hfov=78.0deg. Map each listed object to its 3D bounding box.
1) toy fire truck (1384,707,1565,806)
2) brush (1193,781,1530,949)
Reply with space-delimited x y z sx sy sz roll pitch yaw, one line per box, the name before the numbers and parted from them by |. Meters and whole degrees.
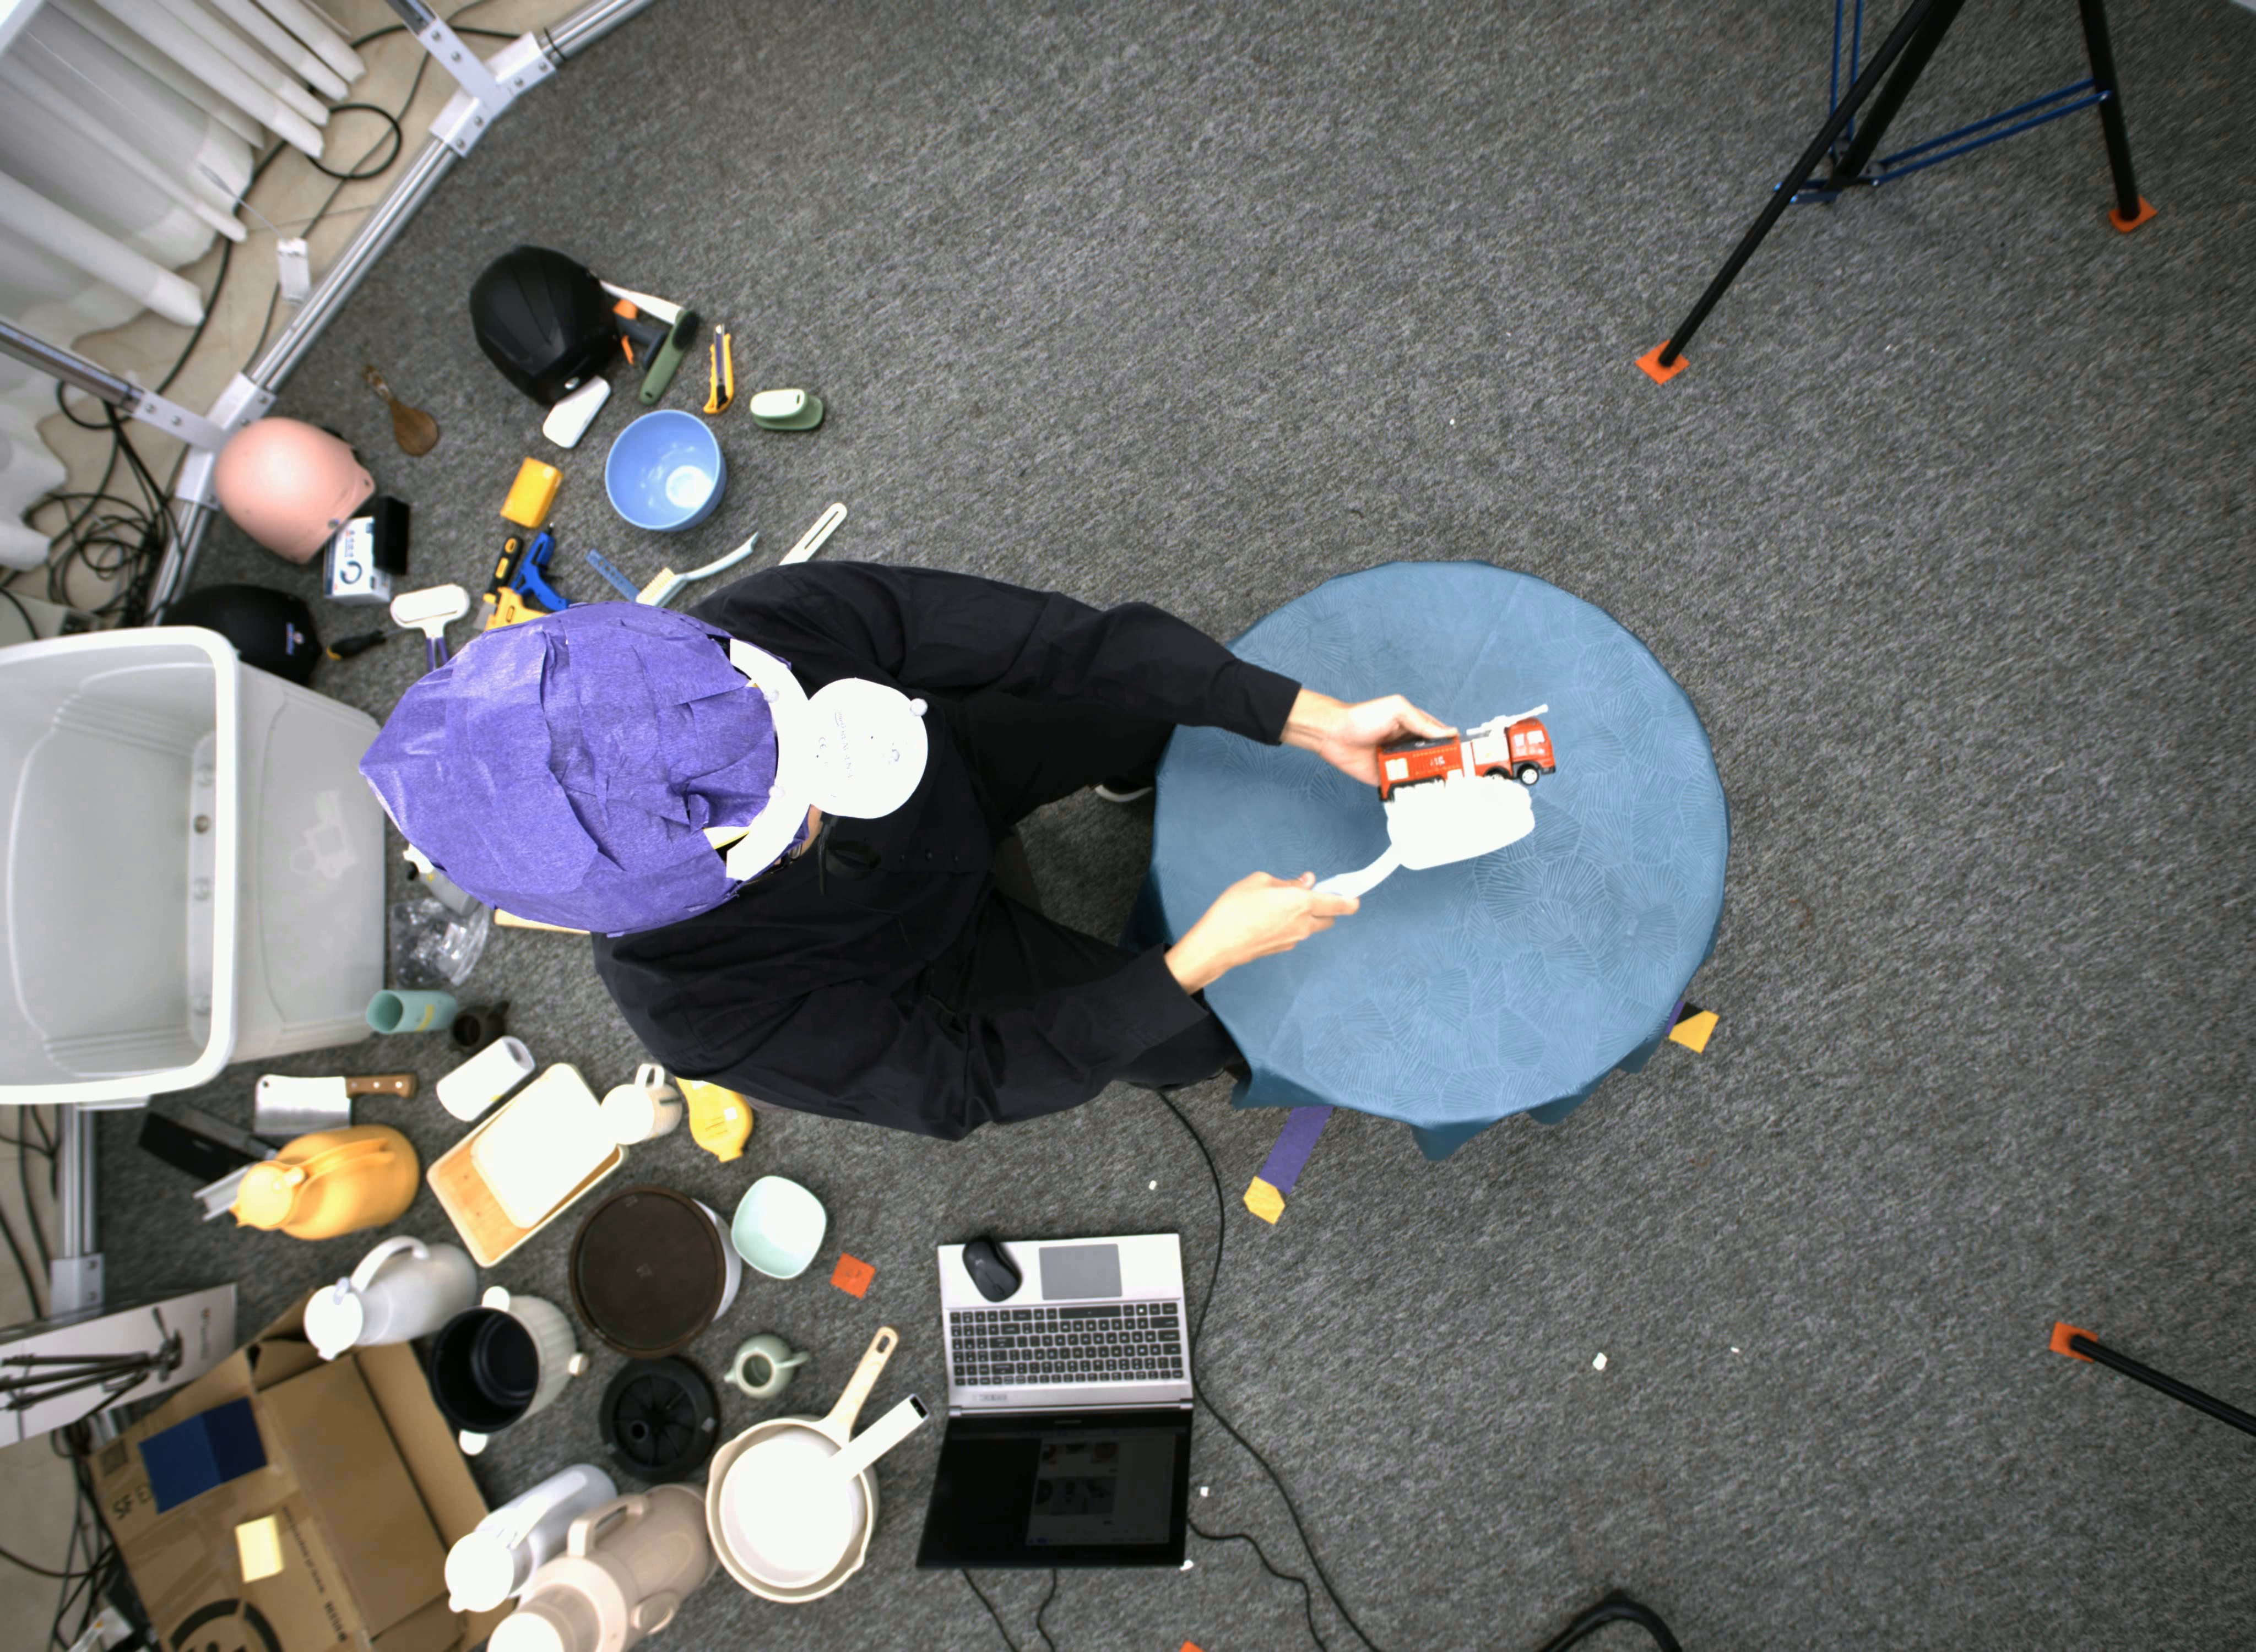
toy fire truck | 0.318 -0.063 1.269 0.169 0.053 0.071 -11 107 11
brush | 0.209 0.025 1.278 0.327 0.084 0.083 -20 89 9
